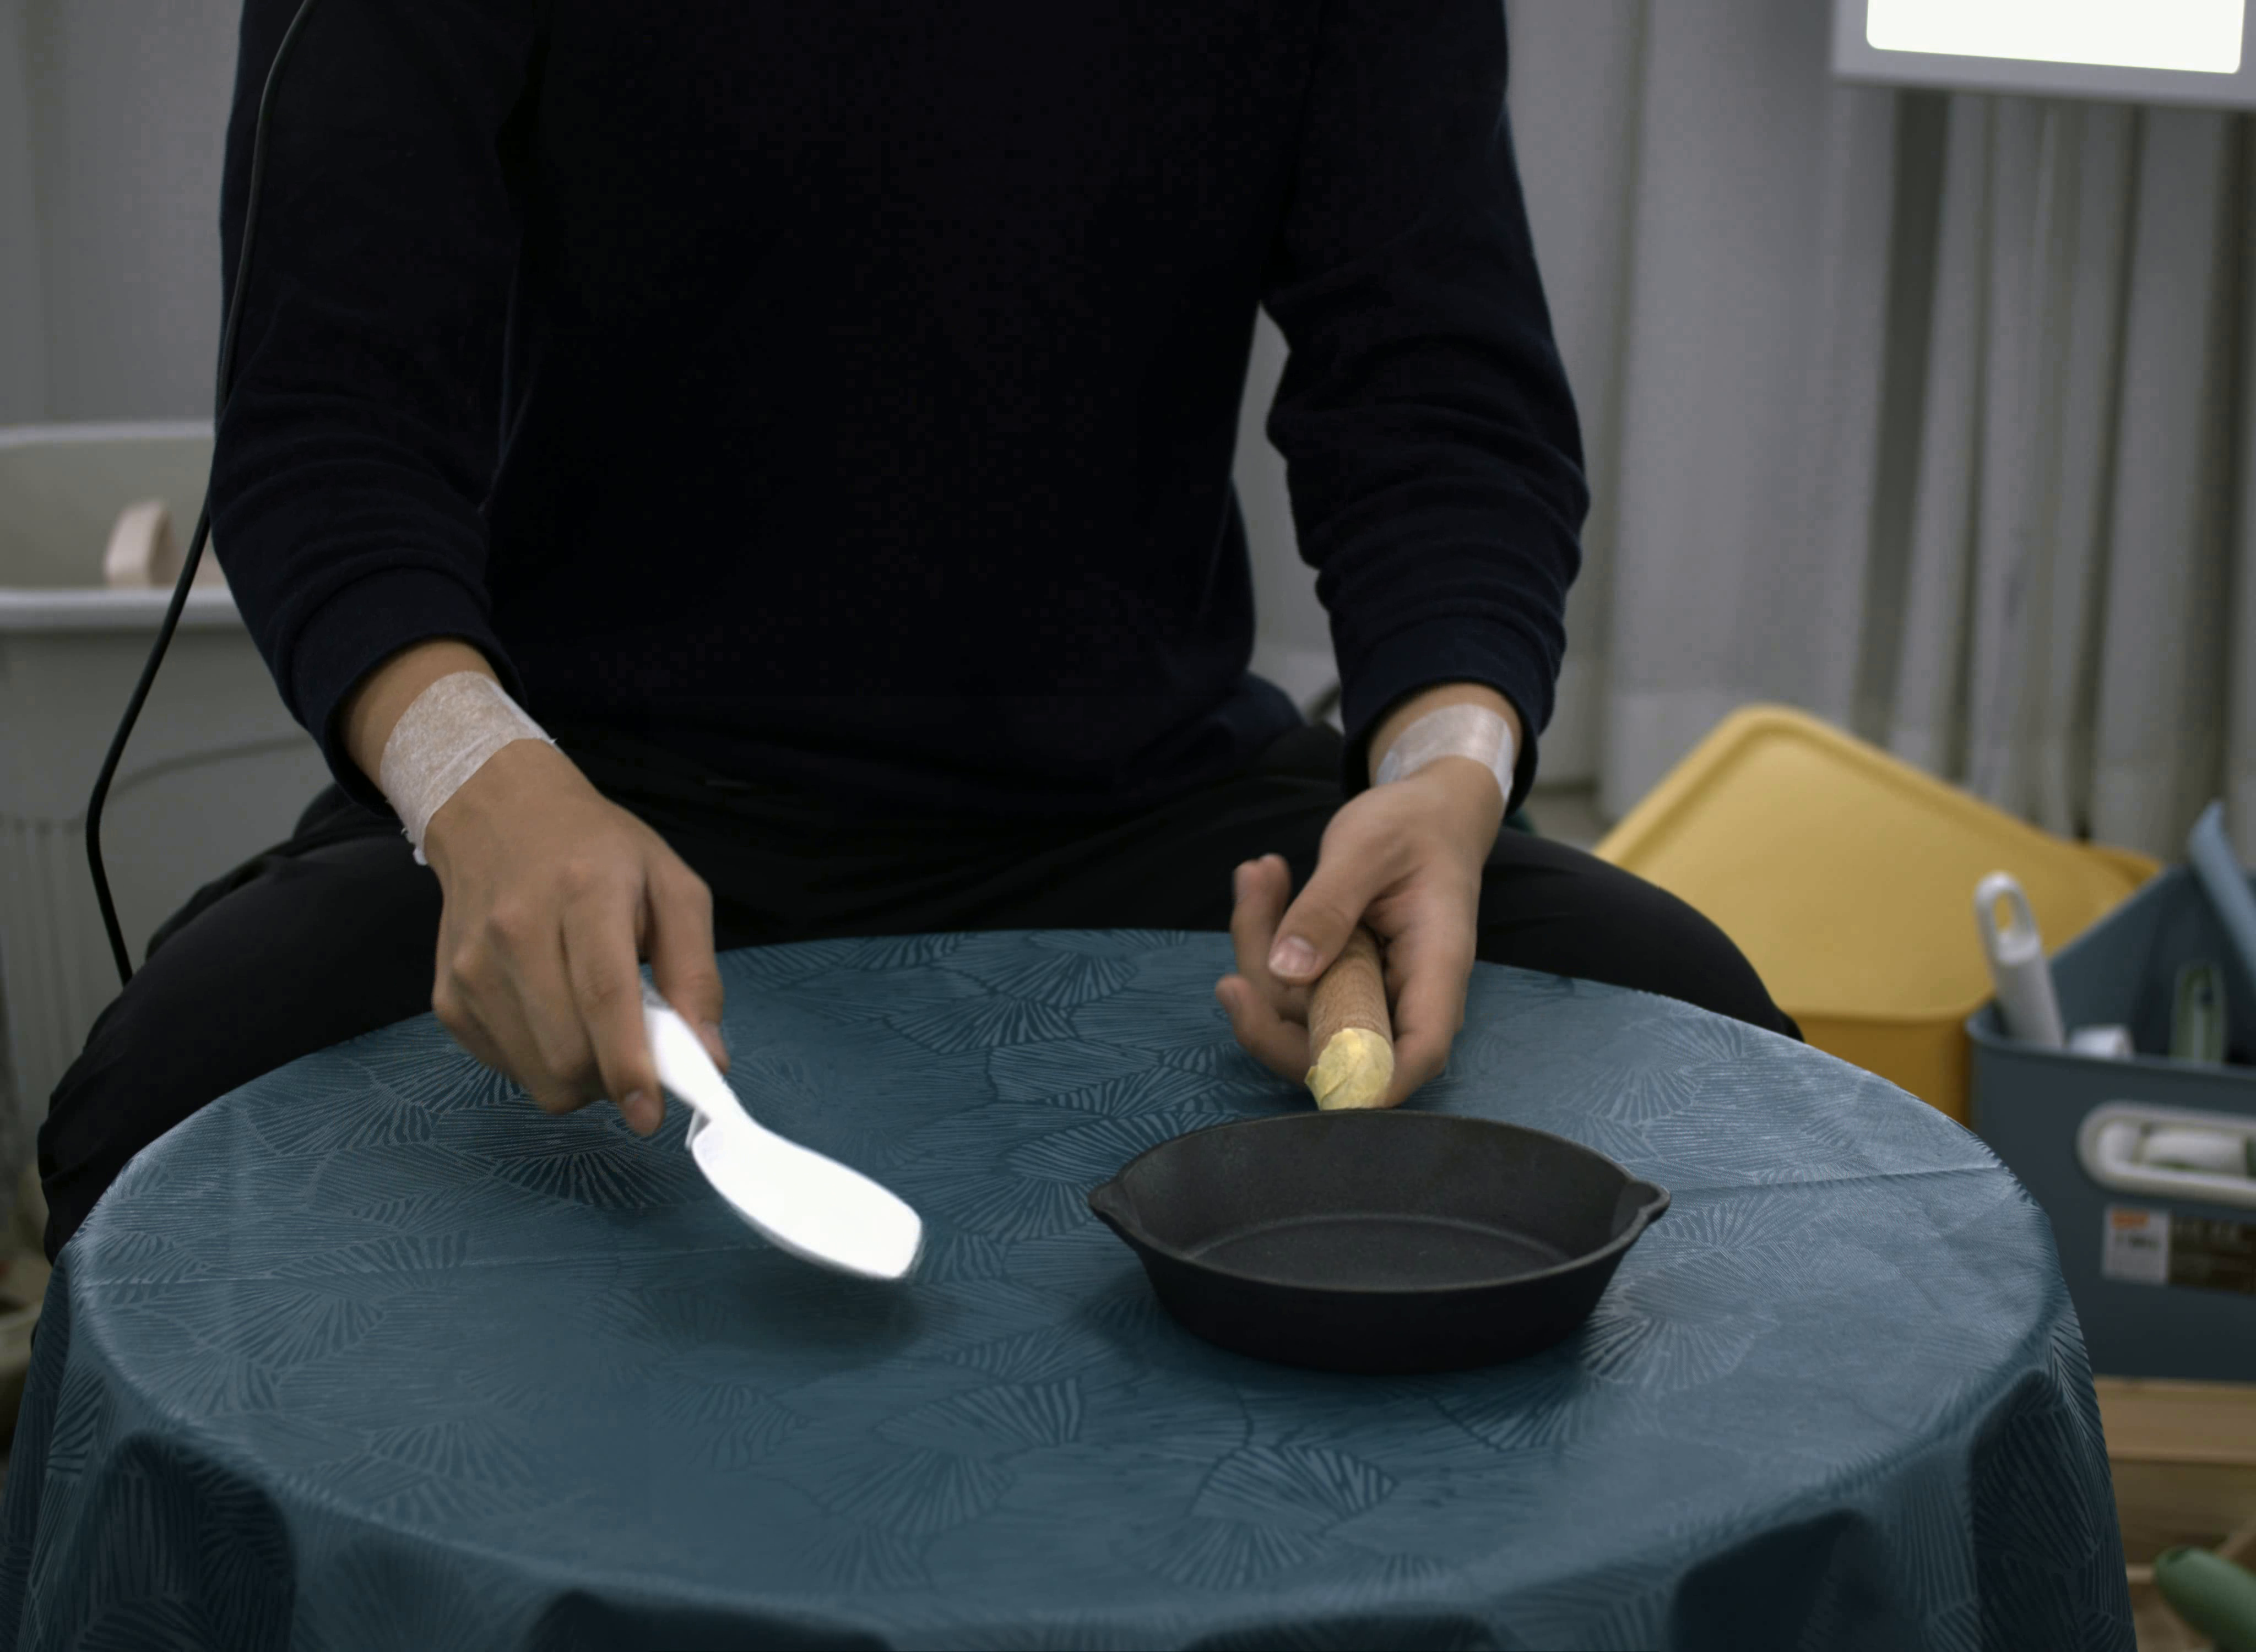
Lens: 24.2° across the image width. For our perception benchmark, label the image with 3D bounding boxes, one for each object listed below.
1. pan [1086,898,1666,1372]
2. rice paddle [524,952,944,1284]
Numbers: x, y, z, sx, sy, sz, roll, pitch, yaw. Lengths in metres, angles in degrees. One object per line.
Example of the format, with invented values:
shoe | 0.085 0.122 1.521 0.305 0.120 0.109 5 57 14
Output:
pan | 0.074 0.091 1.609 0.168 0.050 0.322 1 17 1
rice paddle | -0.120 0.089 1.564 0.069 0.029 0.202 8 16 -38
